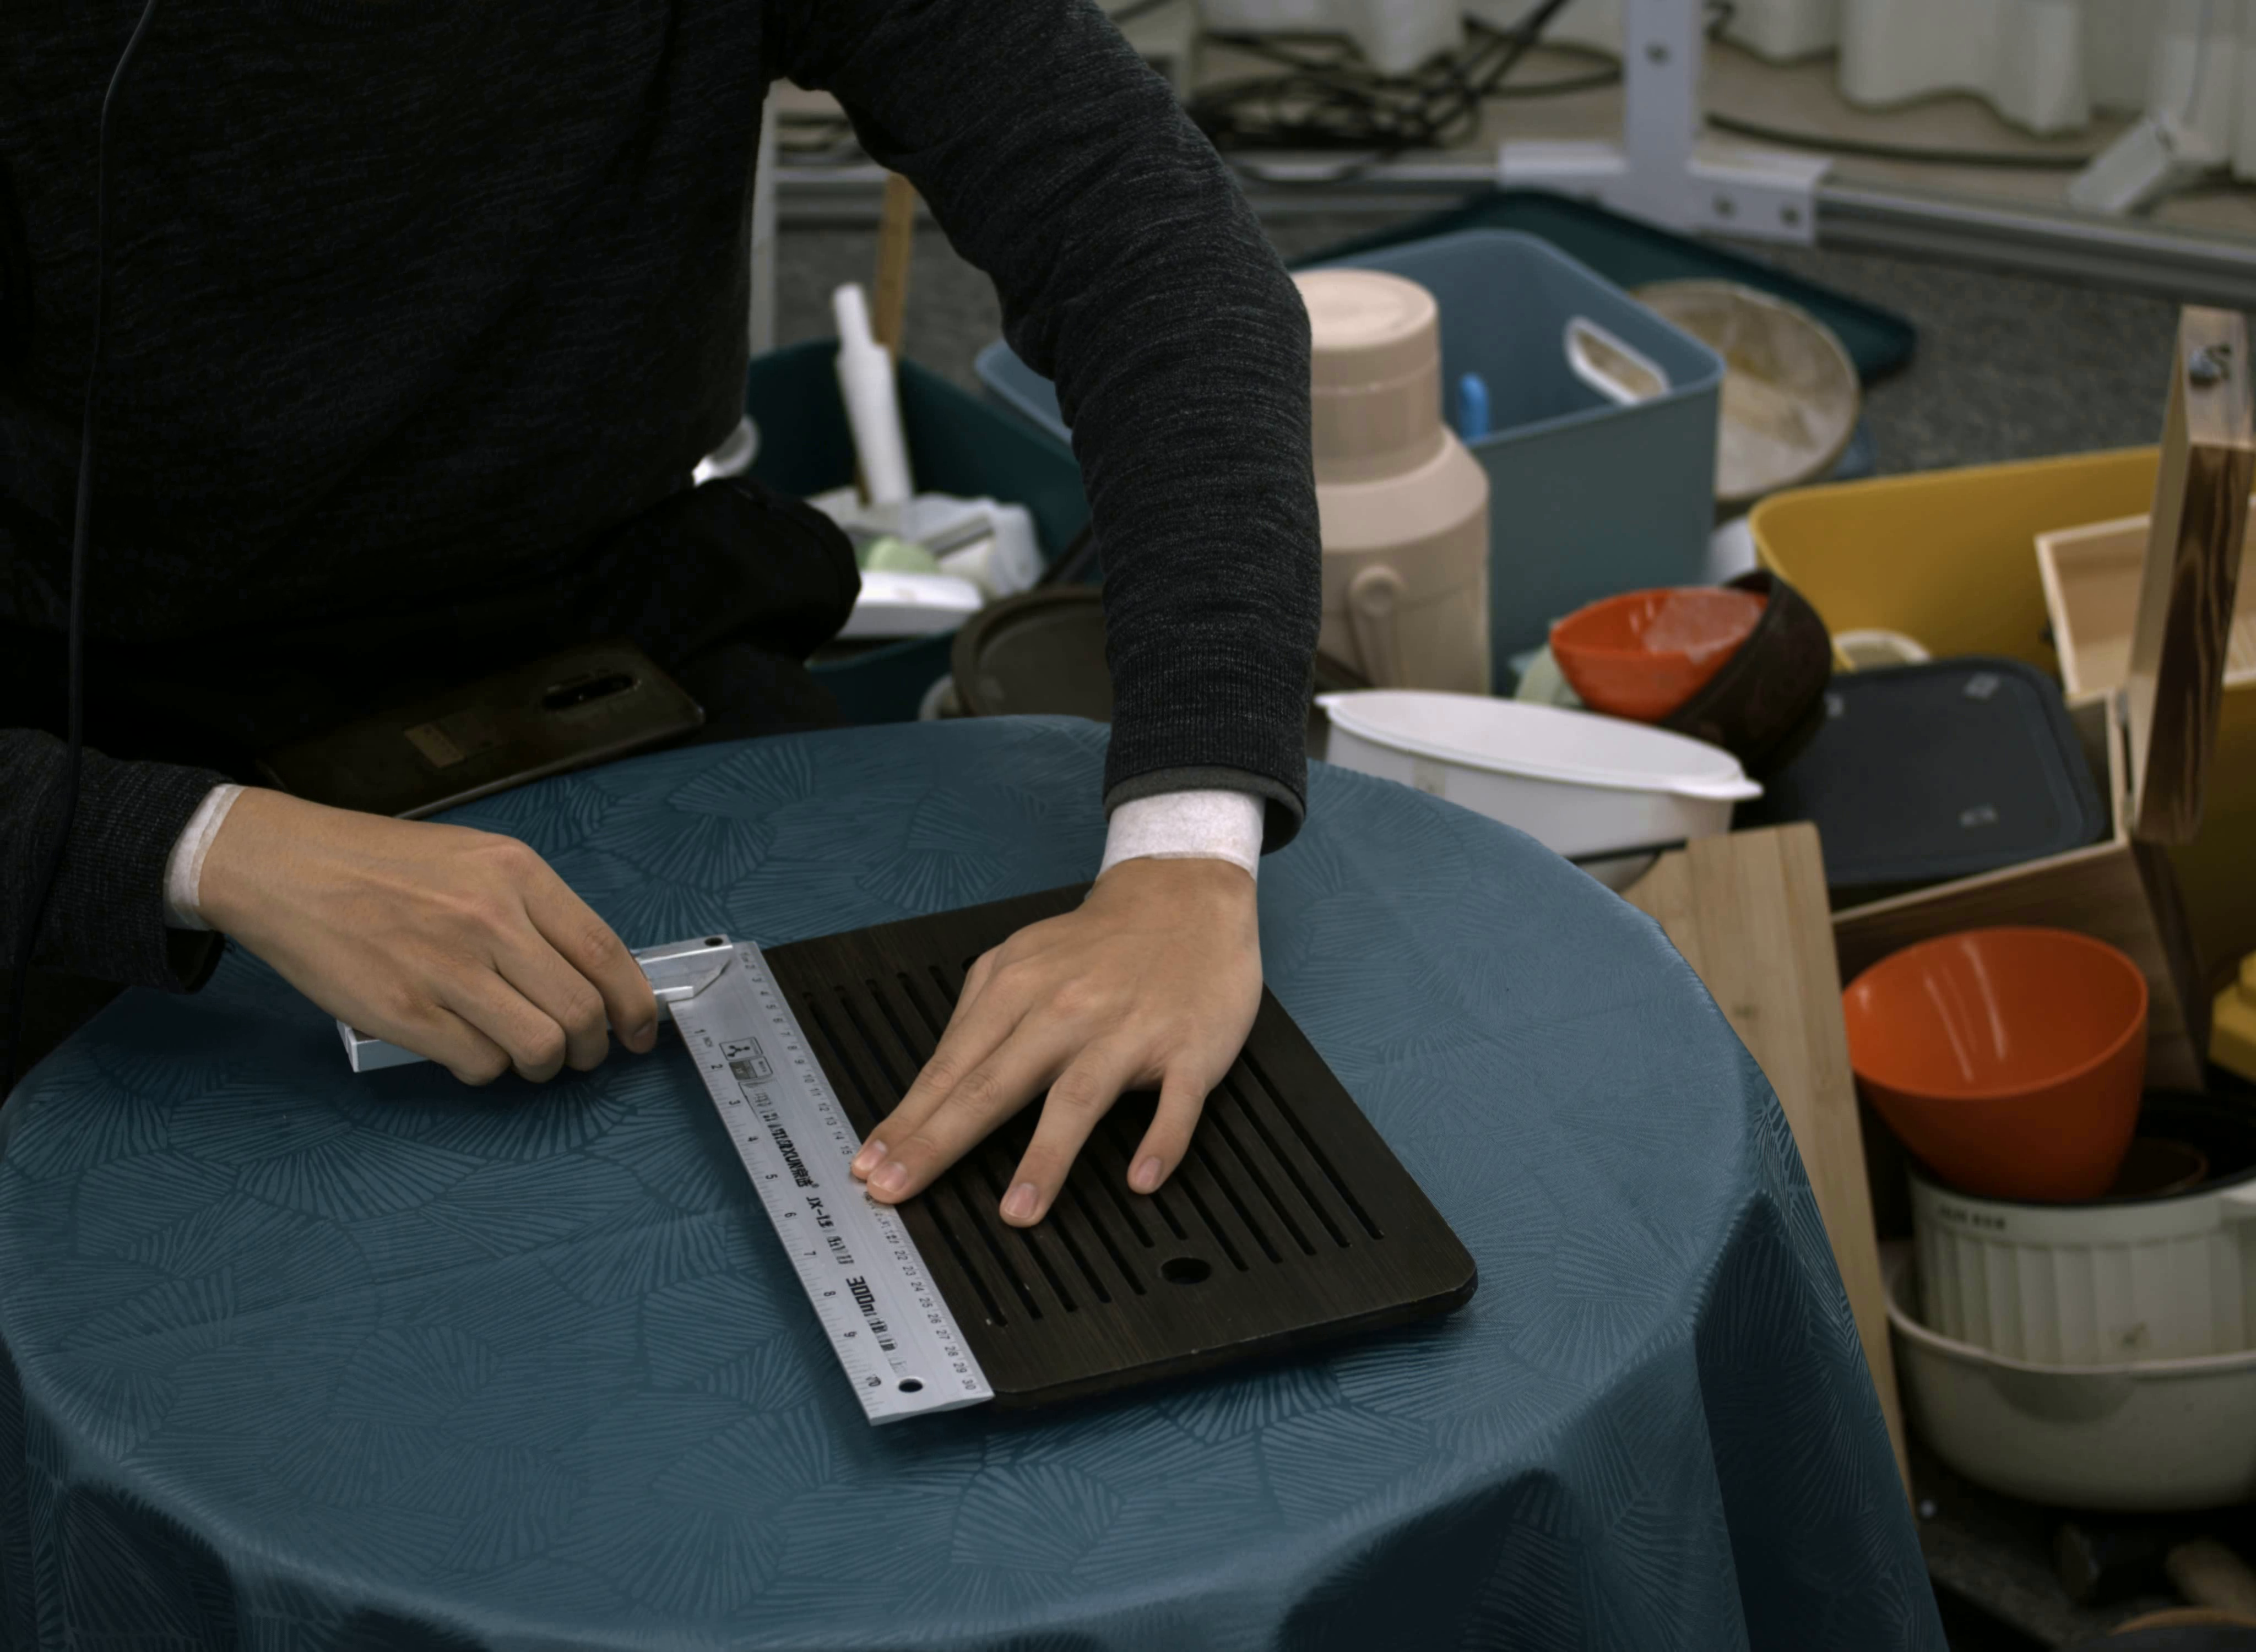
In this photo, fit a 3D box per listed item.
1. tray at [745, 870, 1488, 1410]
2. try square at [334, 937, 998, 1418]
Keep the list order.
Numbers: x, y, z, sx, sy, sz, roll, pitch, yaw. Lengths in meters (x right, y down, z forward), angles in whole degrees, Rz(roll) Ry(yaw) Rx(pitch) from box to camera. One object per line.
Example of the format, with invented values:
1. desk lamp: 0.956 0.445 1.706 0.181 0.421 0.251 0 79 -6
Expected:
1. tray: -0.011 0.102 1.882 0.170 0.018 0.308 -11 28 -15
2. try square: -0.158 0.119 1.839 0.152 0.016 0.316 -8 27 -15
